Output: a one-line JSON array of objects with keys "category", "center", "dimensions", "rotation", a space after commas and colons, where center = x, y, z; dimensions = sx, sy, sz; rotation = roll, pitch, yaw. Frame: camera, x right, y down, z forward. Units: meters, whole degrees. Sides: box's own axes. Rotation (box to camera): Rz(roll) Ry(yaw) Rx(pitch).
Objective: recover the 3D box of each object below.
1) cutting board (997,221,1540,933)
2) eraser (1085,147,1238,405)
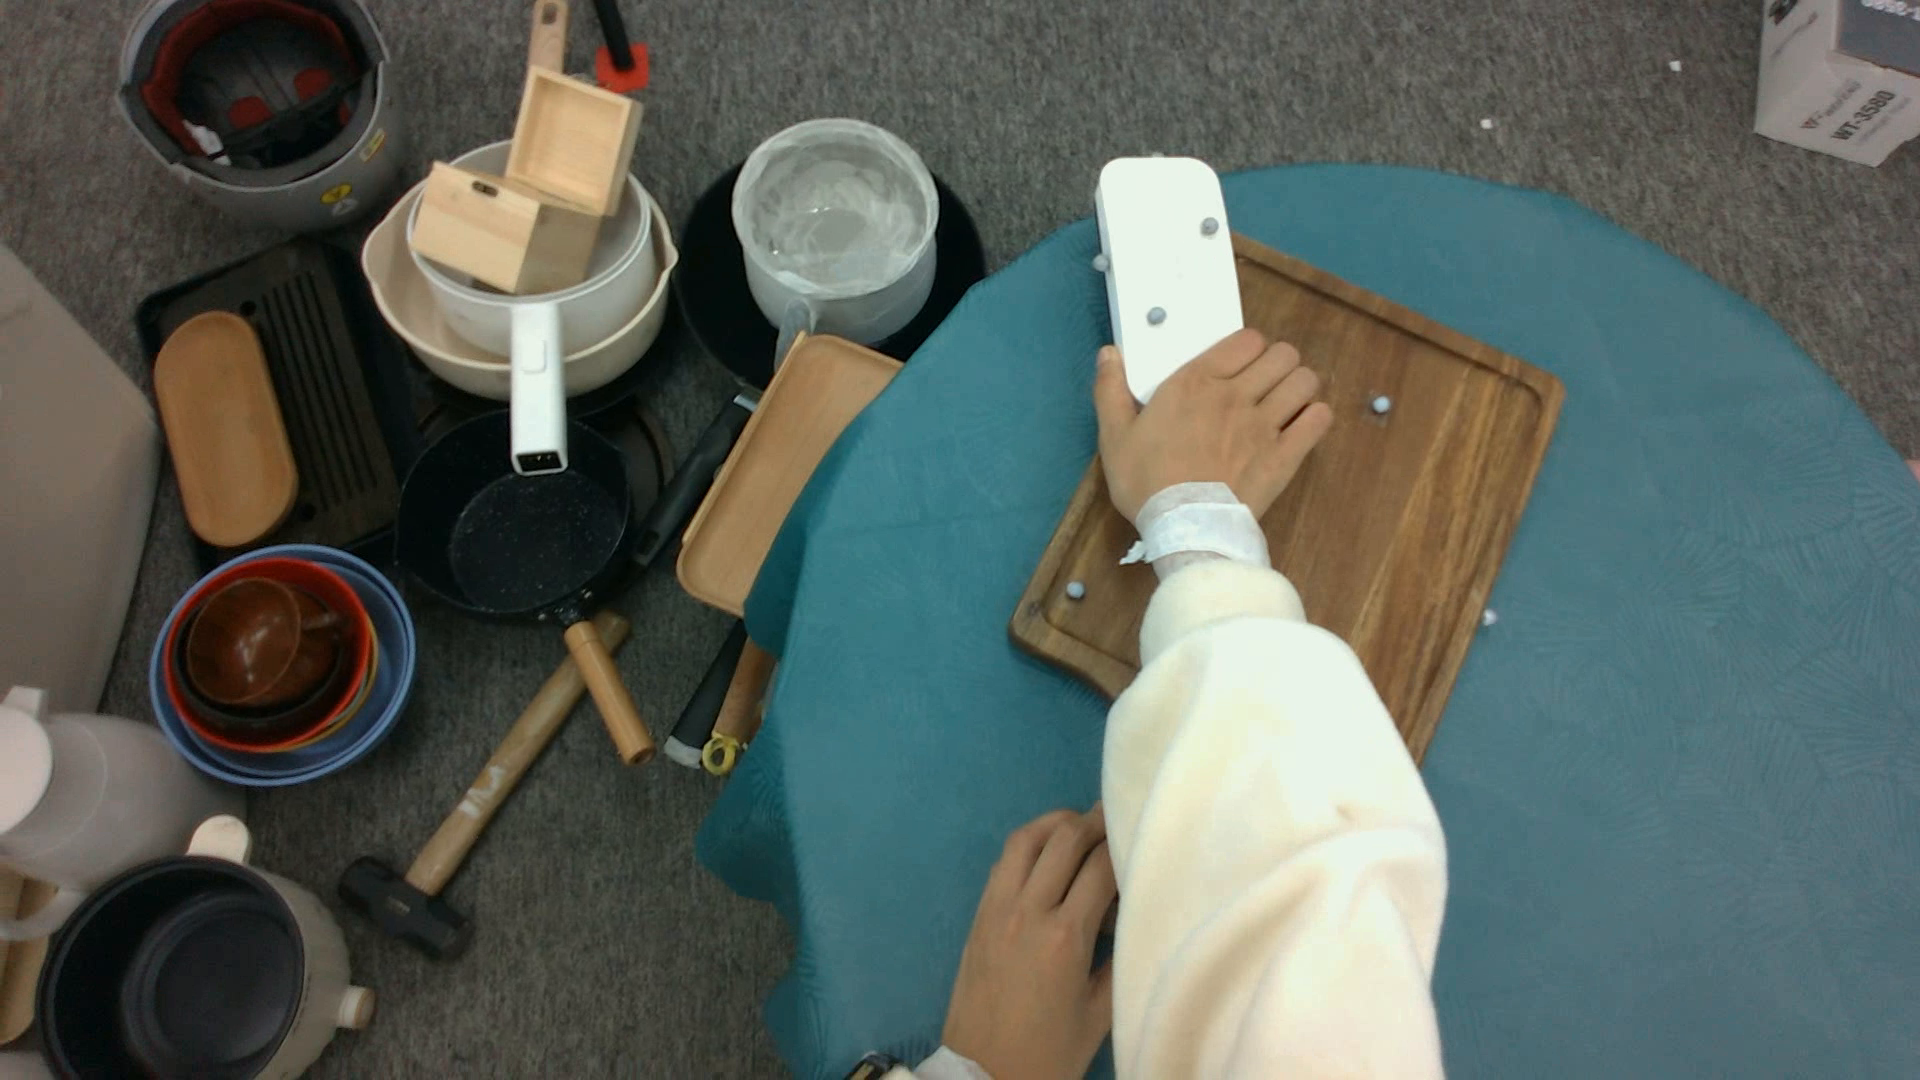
[{"category": "cutting board", "center": [0.134, 0.018, 0.653], "dimensions": [0.201, 0.023, 0.353], "rotation": [25, 70, 6]}, {"category": "eraser", "center": [0.096, -0.130, 0.673], "dimensions": [0.063, 0.034, 0.131], "rotation": [-2, 75, -12]}]
